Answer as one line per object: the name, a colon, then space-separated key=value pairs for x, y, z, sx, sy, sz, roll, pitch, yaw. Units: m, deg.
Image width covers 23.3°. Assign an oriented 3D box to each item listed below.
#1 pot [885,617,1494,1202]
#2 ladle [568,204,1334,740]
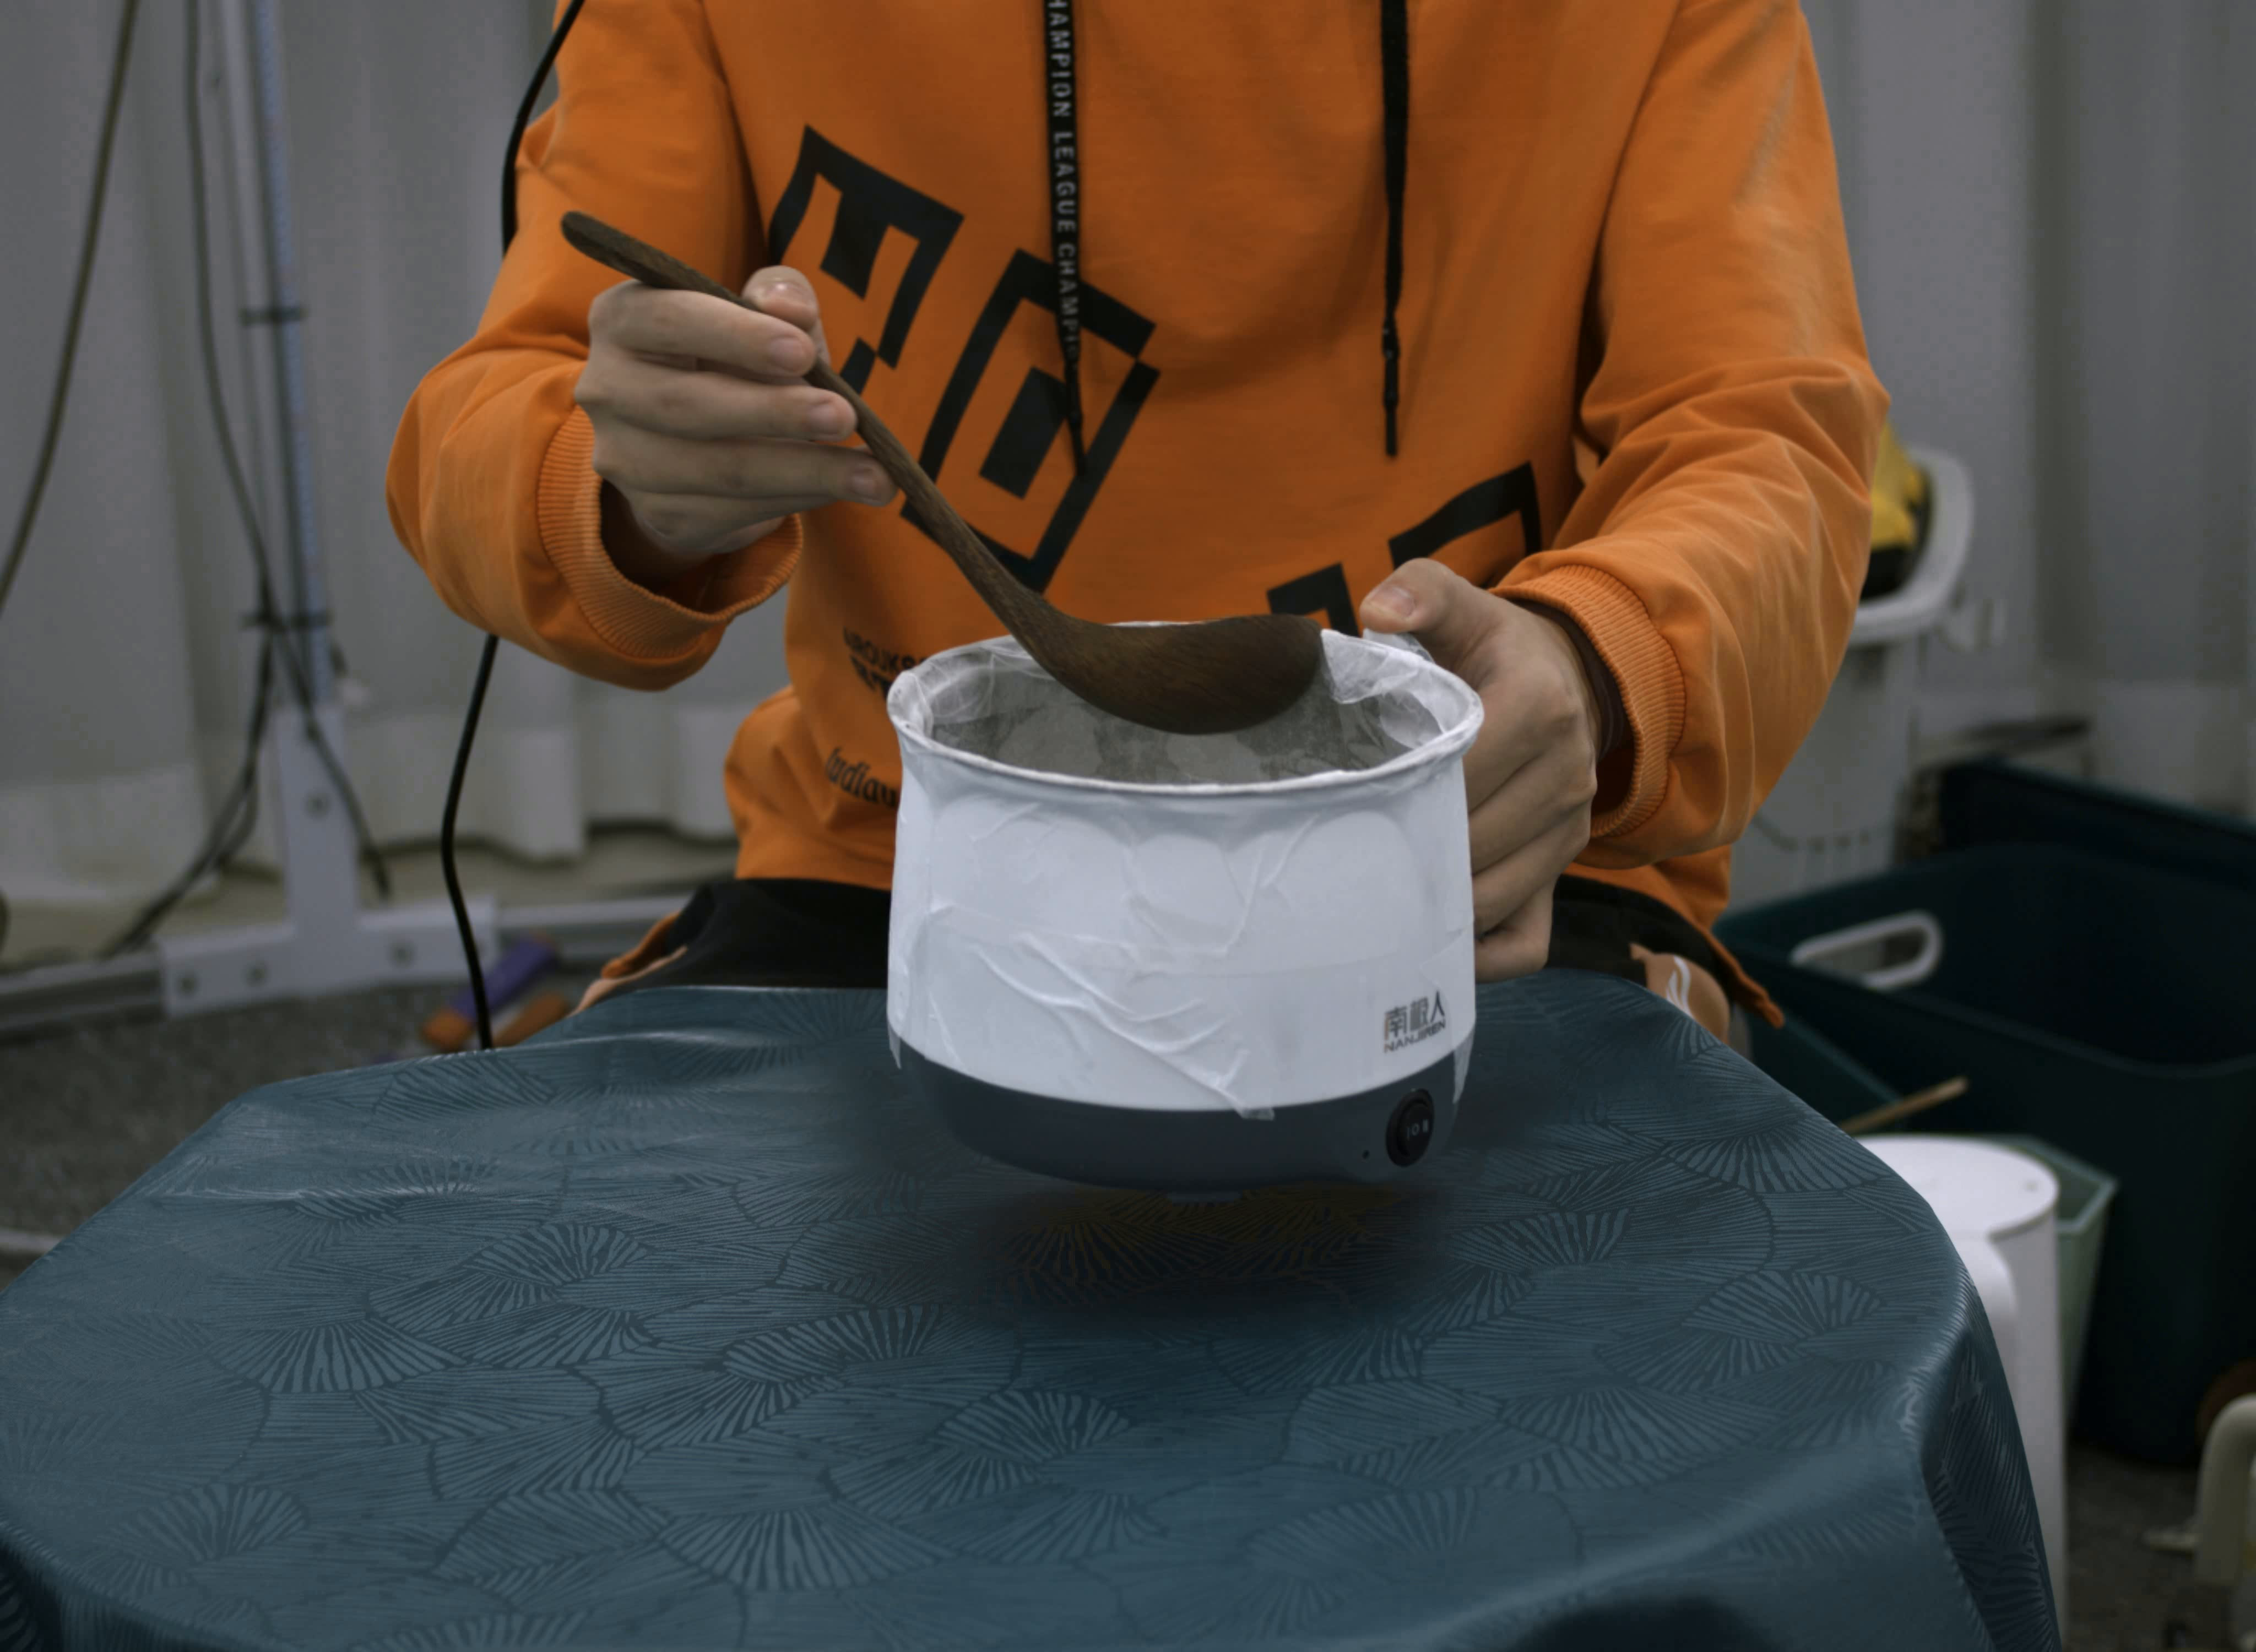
pot: x=0.032 y=0.017 z=1.653 sx=0.179 sy=0.136 sz=0.233 roll=14 pitch=21 yaw=35
ladle: x=-0.053 y=-0.121 z=1.672 sx=0.276 sy=0.071 sz=0.075 roll=43 pitch=-7 yaw=15
